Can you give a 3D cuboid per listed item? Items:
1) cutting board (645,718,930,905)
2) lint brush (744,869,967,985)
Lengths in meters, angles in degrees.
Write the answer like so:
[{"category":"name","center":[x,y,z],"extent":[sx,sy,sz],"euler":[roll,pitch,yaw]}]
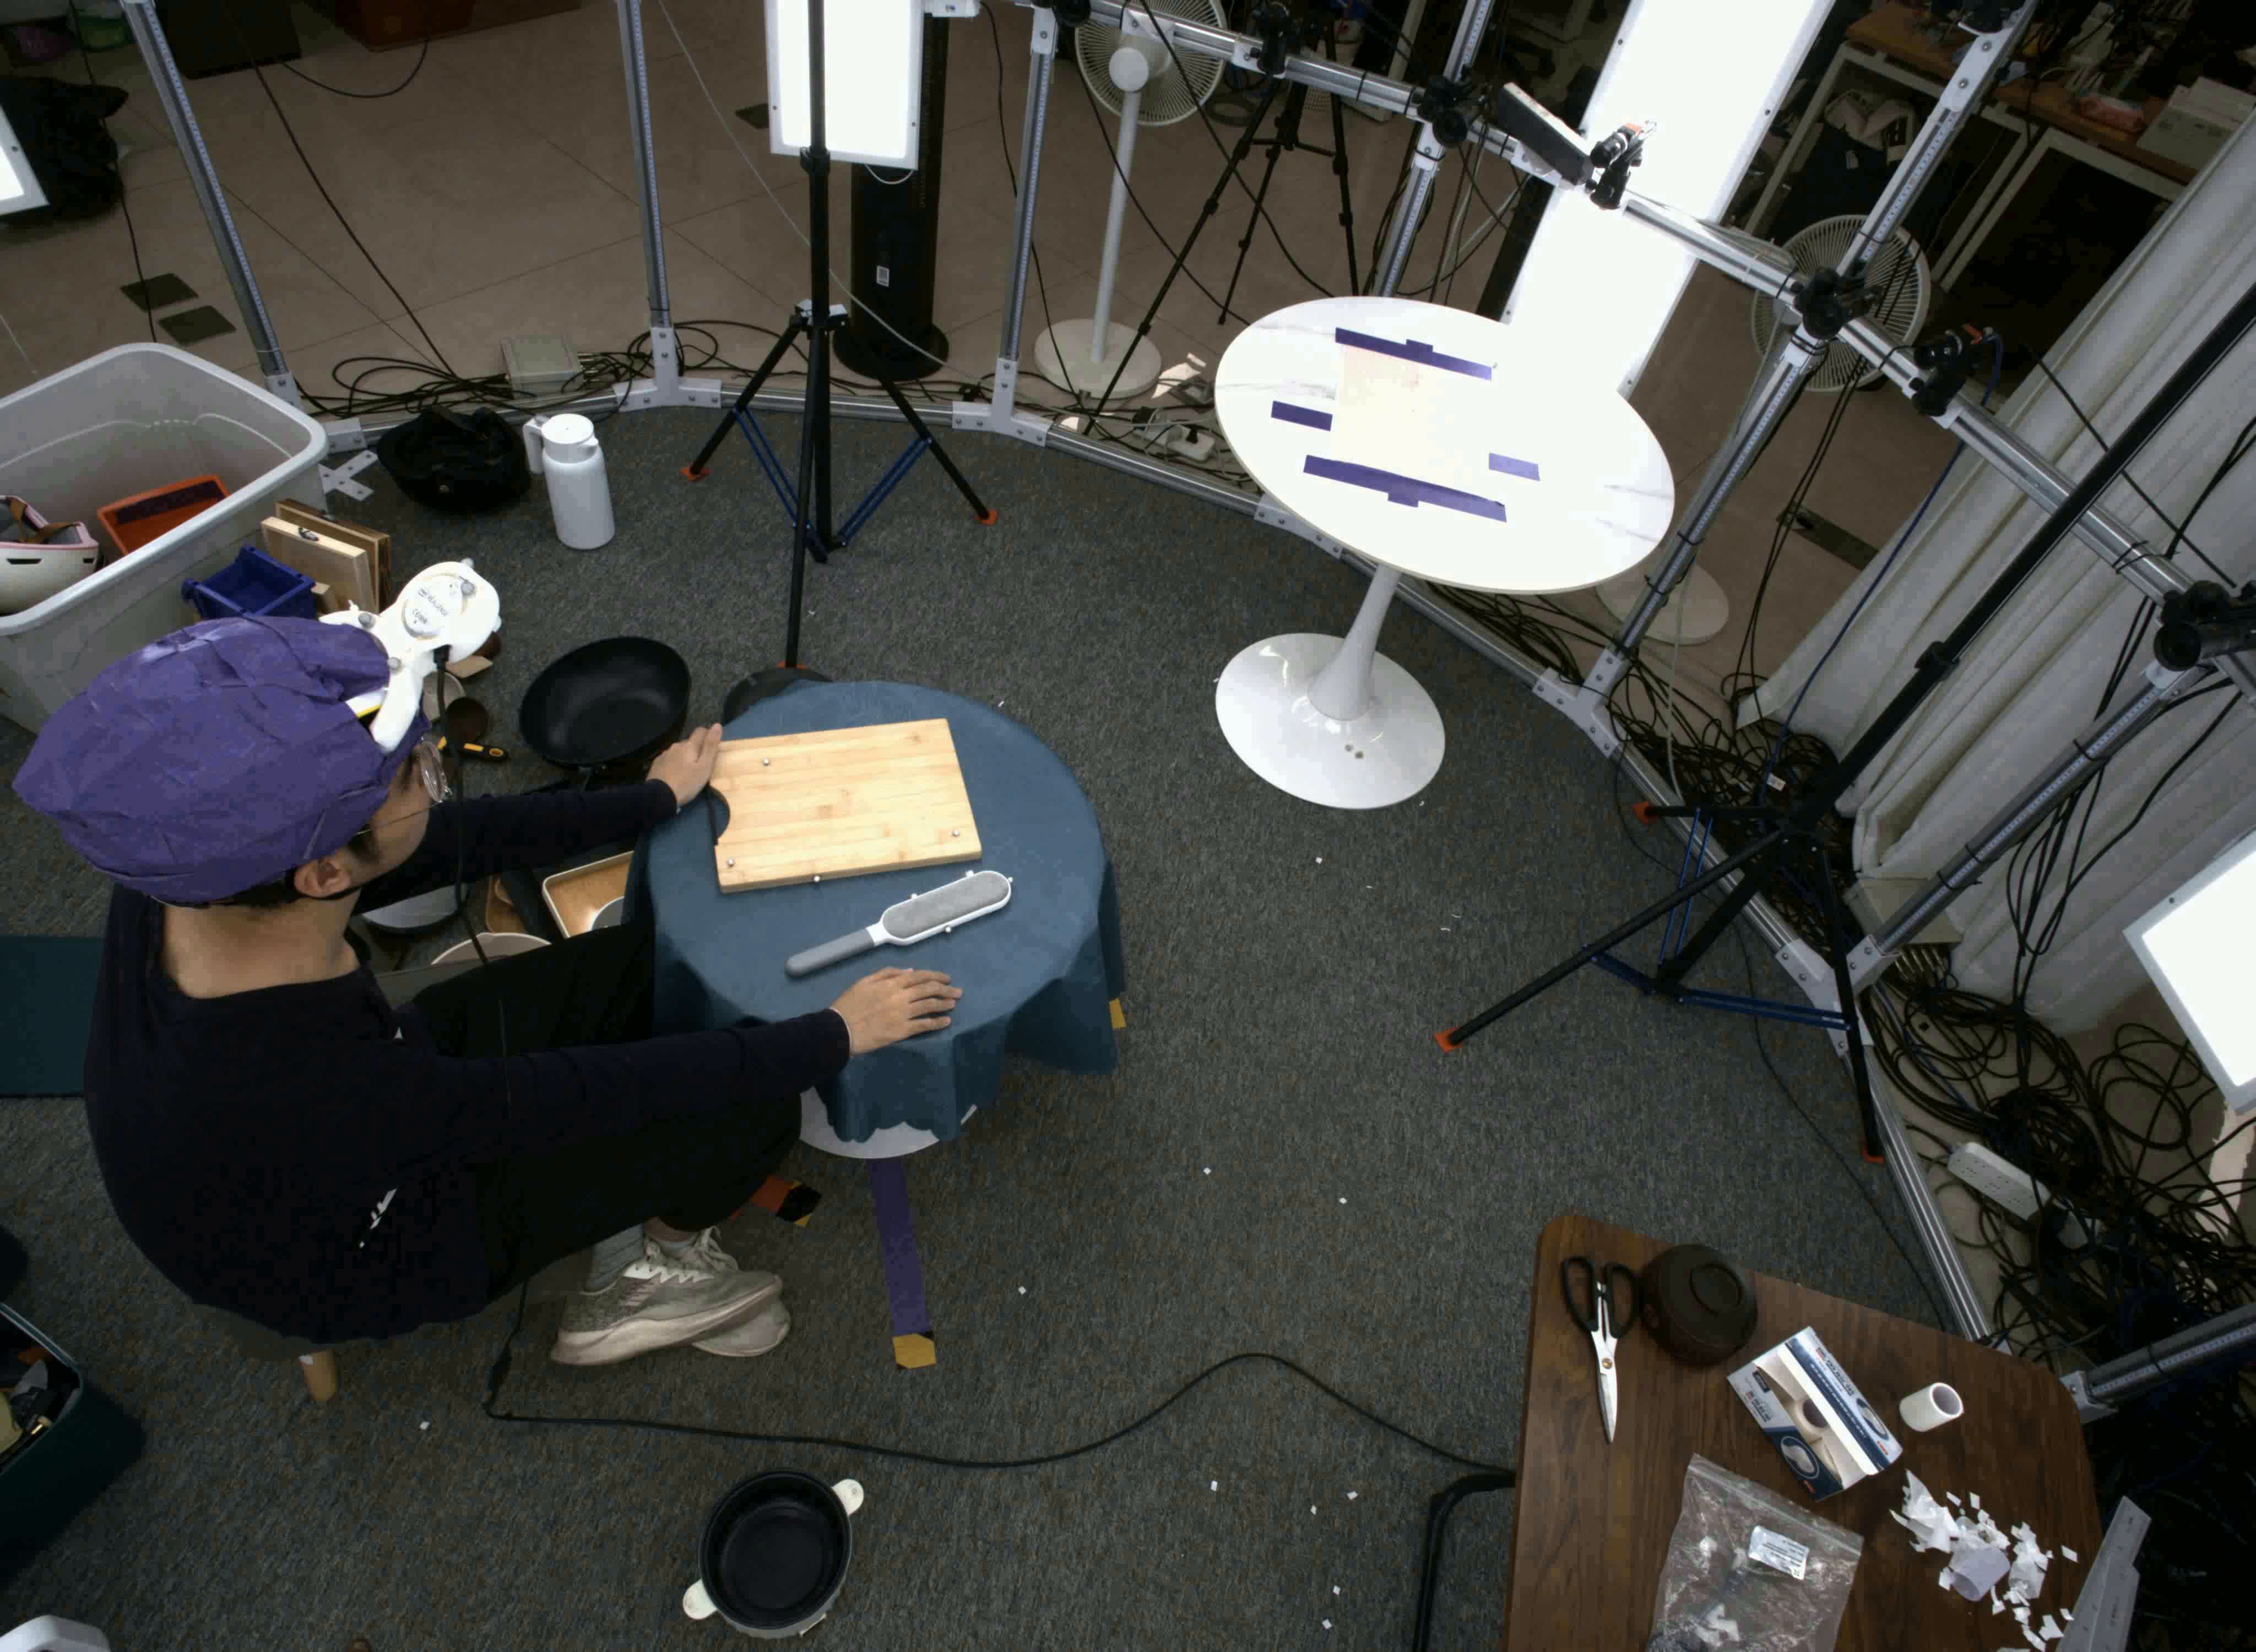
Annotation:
[{"category":"cutting board","center":[-0.456,-0.027,1.737],"extent":[0.350,0.024,0.244],"euler":[-11,57,-21]},{"category":"lint brush","center":[-0.341,0.126,1.646],"extent":[0.310,0.021,0.059],"euler":[-24,68,-28]}]
